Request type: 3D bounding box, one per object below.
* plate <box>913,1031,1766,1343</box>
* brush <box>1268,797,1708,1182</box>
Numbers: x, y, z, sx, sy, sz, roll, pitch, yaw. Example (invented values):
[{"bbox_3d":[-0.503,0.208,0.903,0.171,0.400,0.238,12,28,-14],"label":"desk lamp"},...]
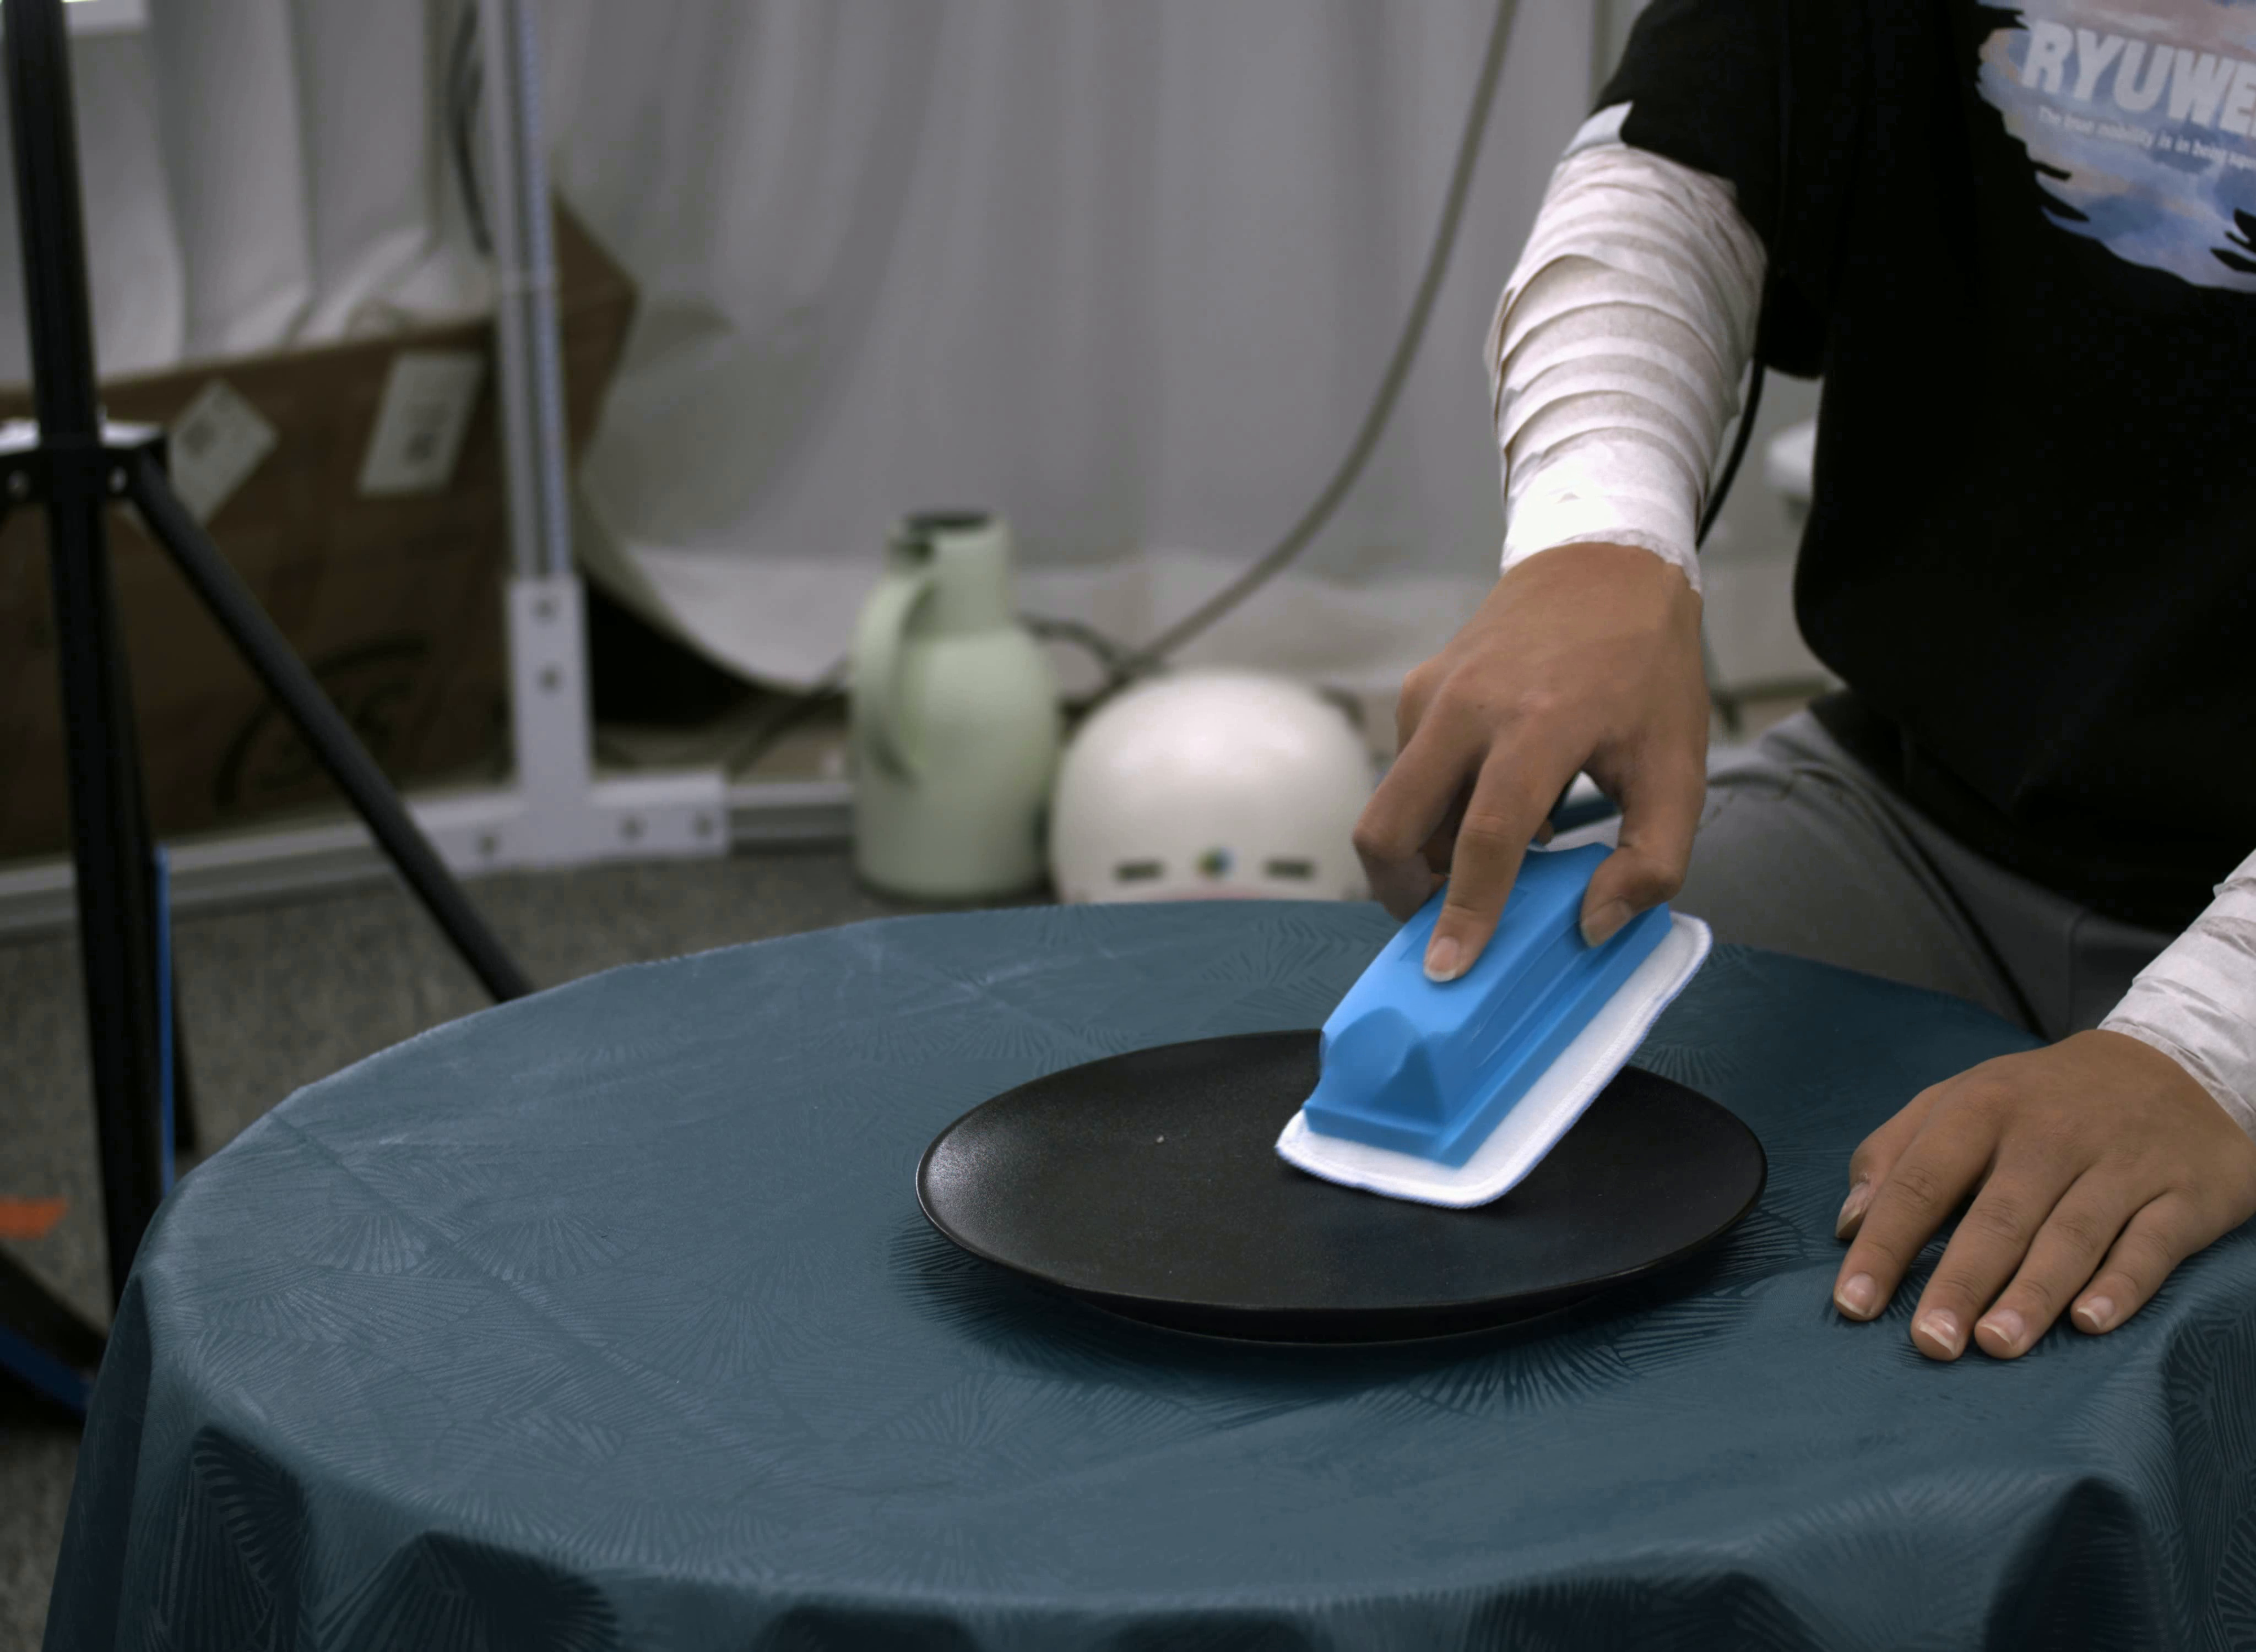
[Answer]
[{"bbox_3d":[0.060,0.105,1.516,0.243,0.023,0.245,-3,16,-1],"label":"plate"},{"bbox_3d":[0.106,0.041,1.561,0.085,0.055,0.142,15,47,34],"label":"brush"}]
